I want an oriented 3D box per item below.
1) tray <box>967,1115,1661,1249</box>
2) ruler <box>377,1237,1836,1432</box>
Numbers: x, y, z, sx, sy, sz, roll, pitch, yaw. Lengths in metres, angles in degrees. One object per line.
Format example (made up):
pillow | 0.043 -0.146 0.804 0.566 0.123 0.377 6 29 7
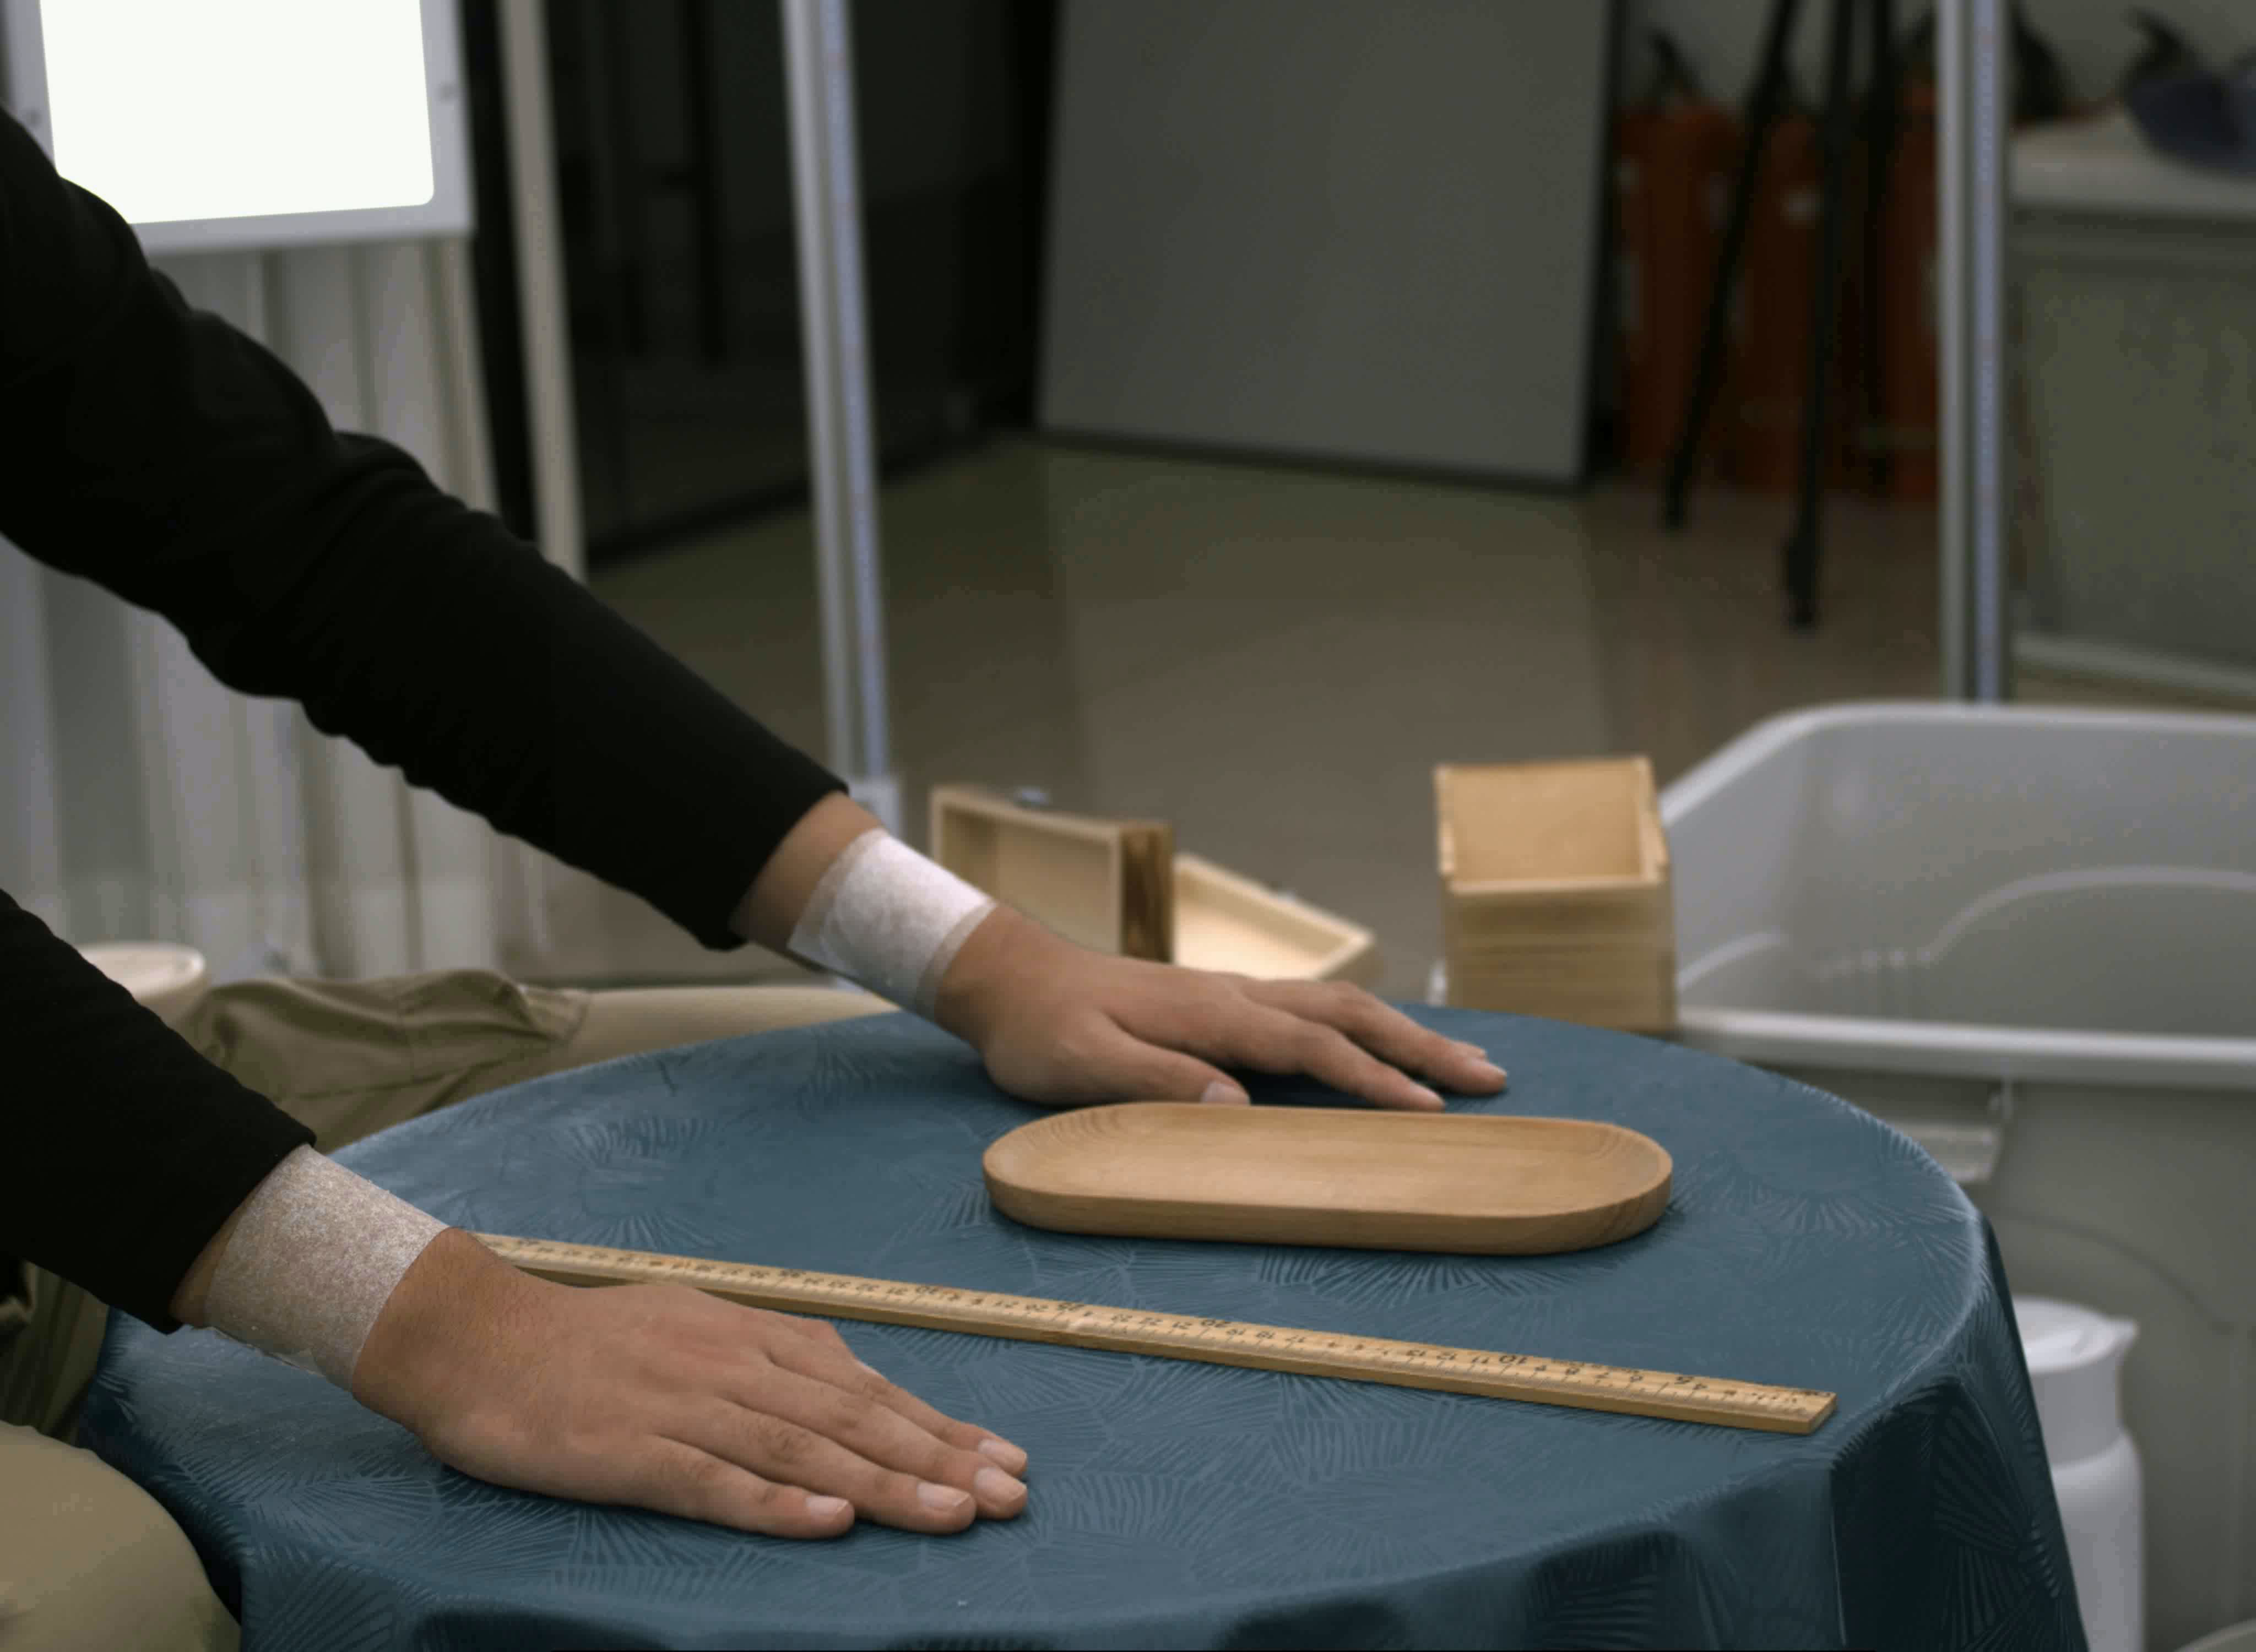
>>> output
tray | 0.059 0.115 1.742 0.230 0.020 0.101 -2 12 19
ruler | -0.020 0.152 1.641 0.502 0.006 0.026 4 14 30
